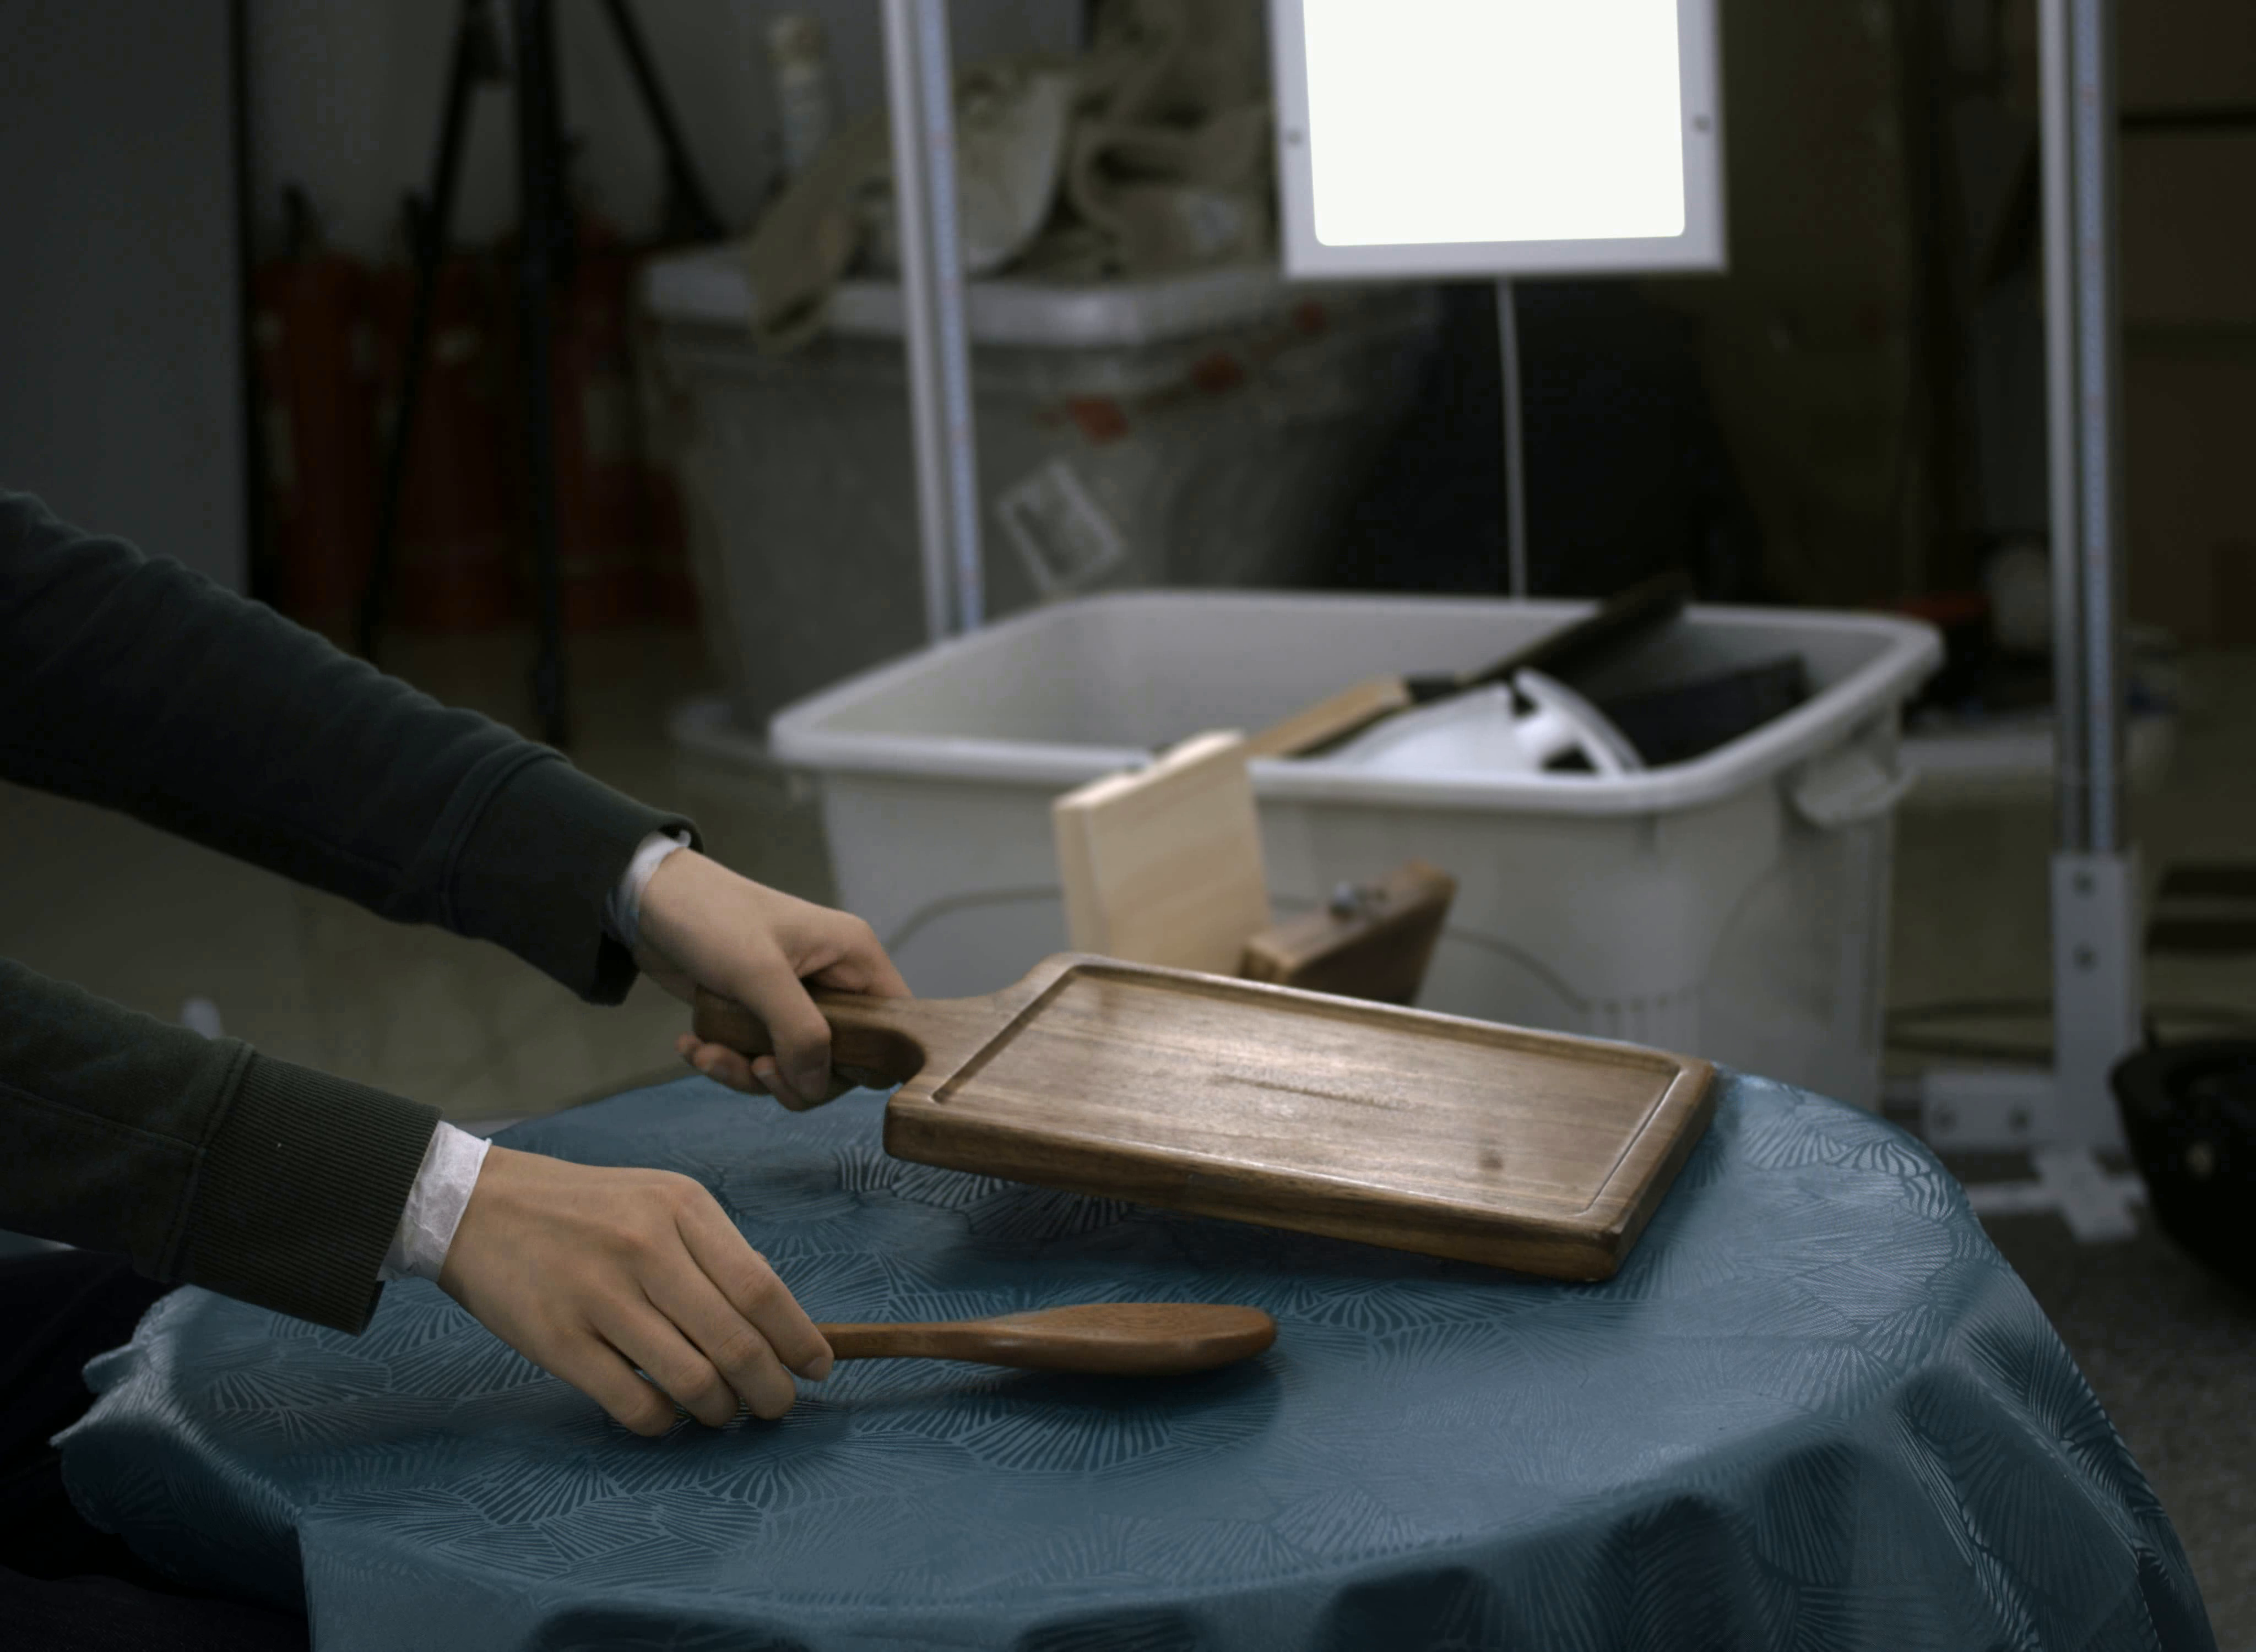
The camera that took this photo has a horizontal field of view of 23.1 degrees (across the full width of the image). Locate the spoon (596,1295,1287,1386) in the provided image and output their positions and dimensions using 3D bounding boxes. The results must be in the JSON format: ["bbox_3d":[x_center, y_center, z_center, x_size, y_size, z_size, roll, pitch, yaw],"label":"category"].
[{"bbox_3d":[-0.058,0.161,1.713,0.215,0.017,0.075,0,9,2],"label":"spoon"}]

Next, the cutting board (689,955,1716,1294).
[{"bbox_3d":[0.016,0.091,1.891,0.355,0.023,0.198,9,18,16],"label":"cutting board"}]
